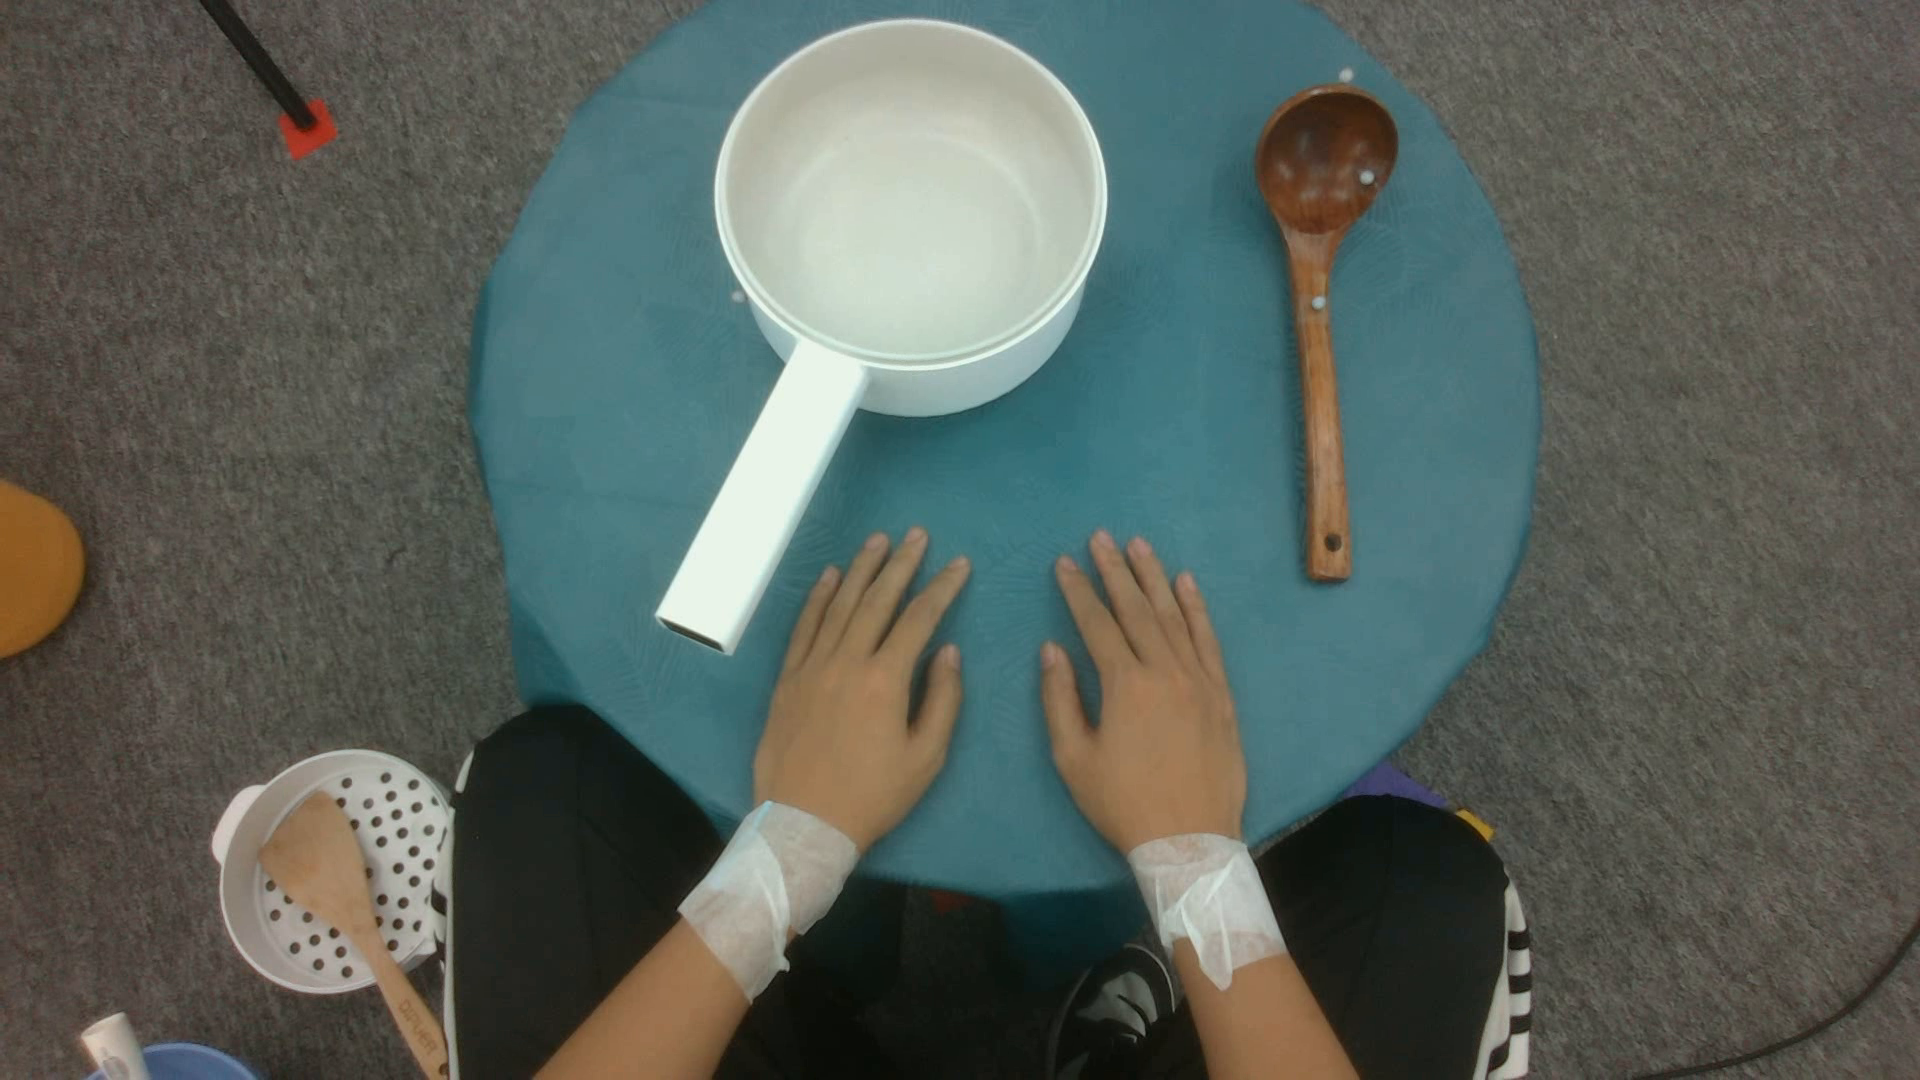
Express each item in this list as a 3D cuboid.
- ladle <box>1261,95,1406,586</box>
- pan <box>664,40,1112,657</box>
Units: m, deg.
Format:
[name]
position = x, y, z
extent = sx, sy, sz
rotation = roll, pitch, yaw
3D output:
[ladle]
position = 0.208, -0.115, 0.760
extent = 0.082, 0.076, 0.275
rotation = 4, 71, -1
[pan]
position = -0.052, -0.097, 0.745
extent = 0.201, 0.102, 0.356
rotation = 23, 75, 6
